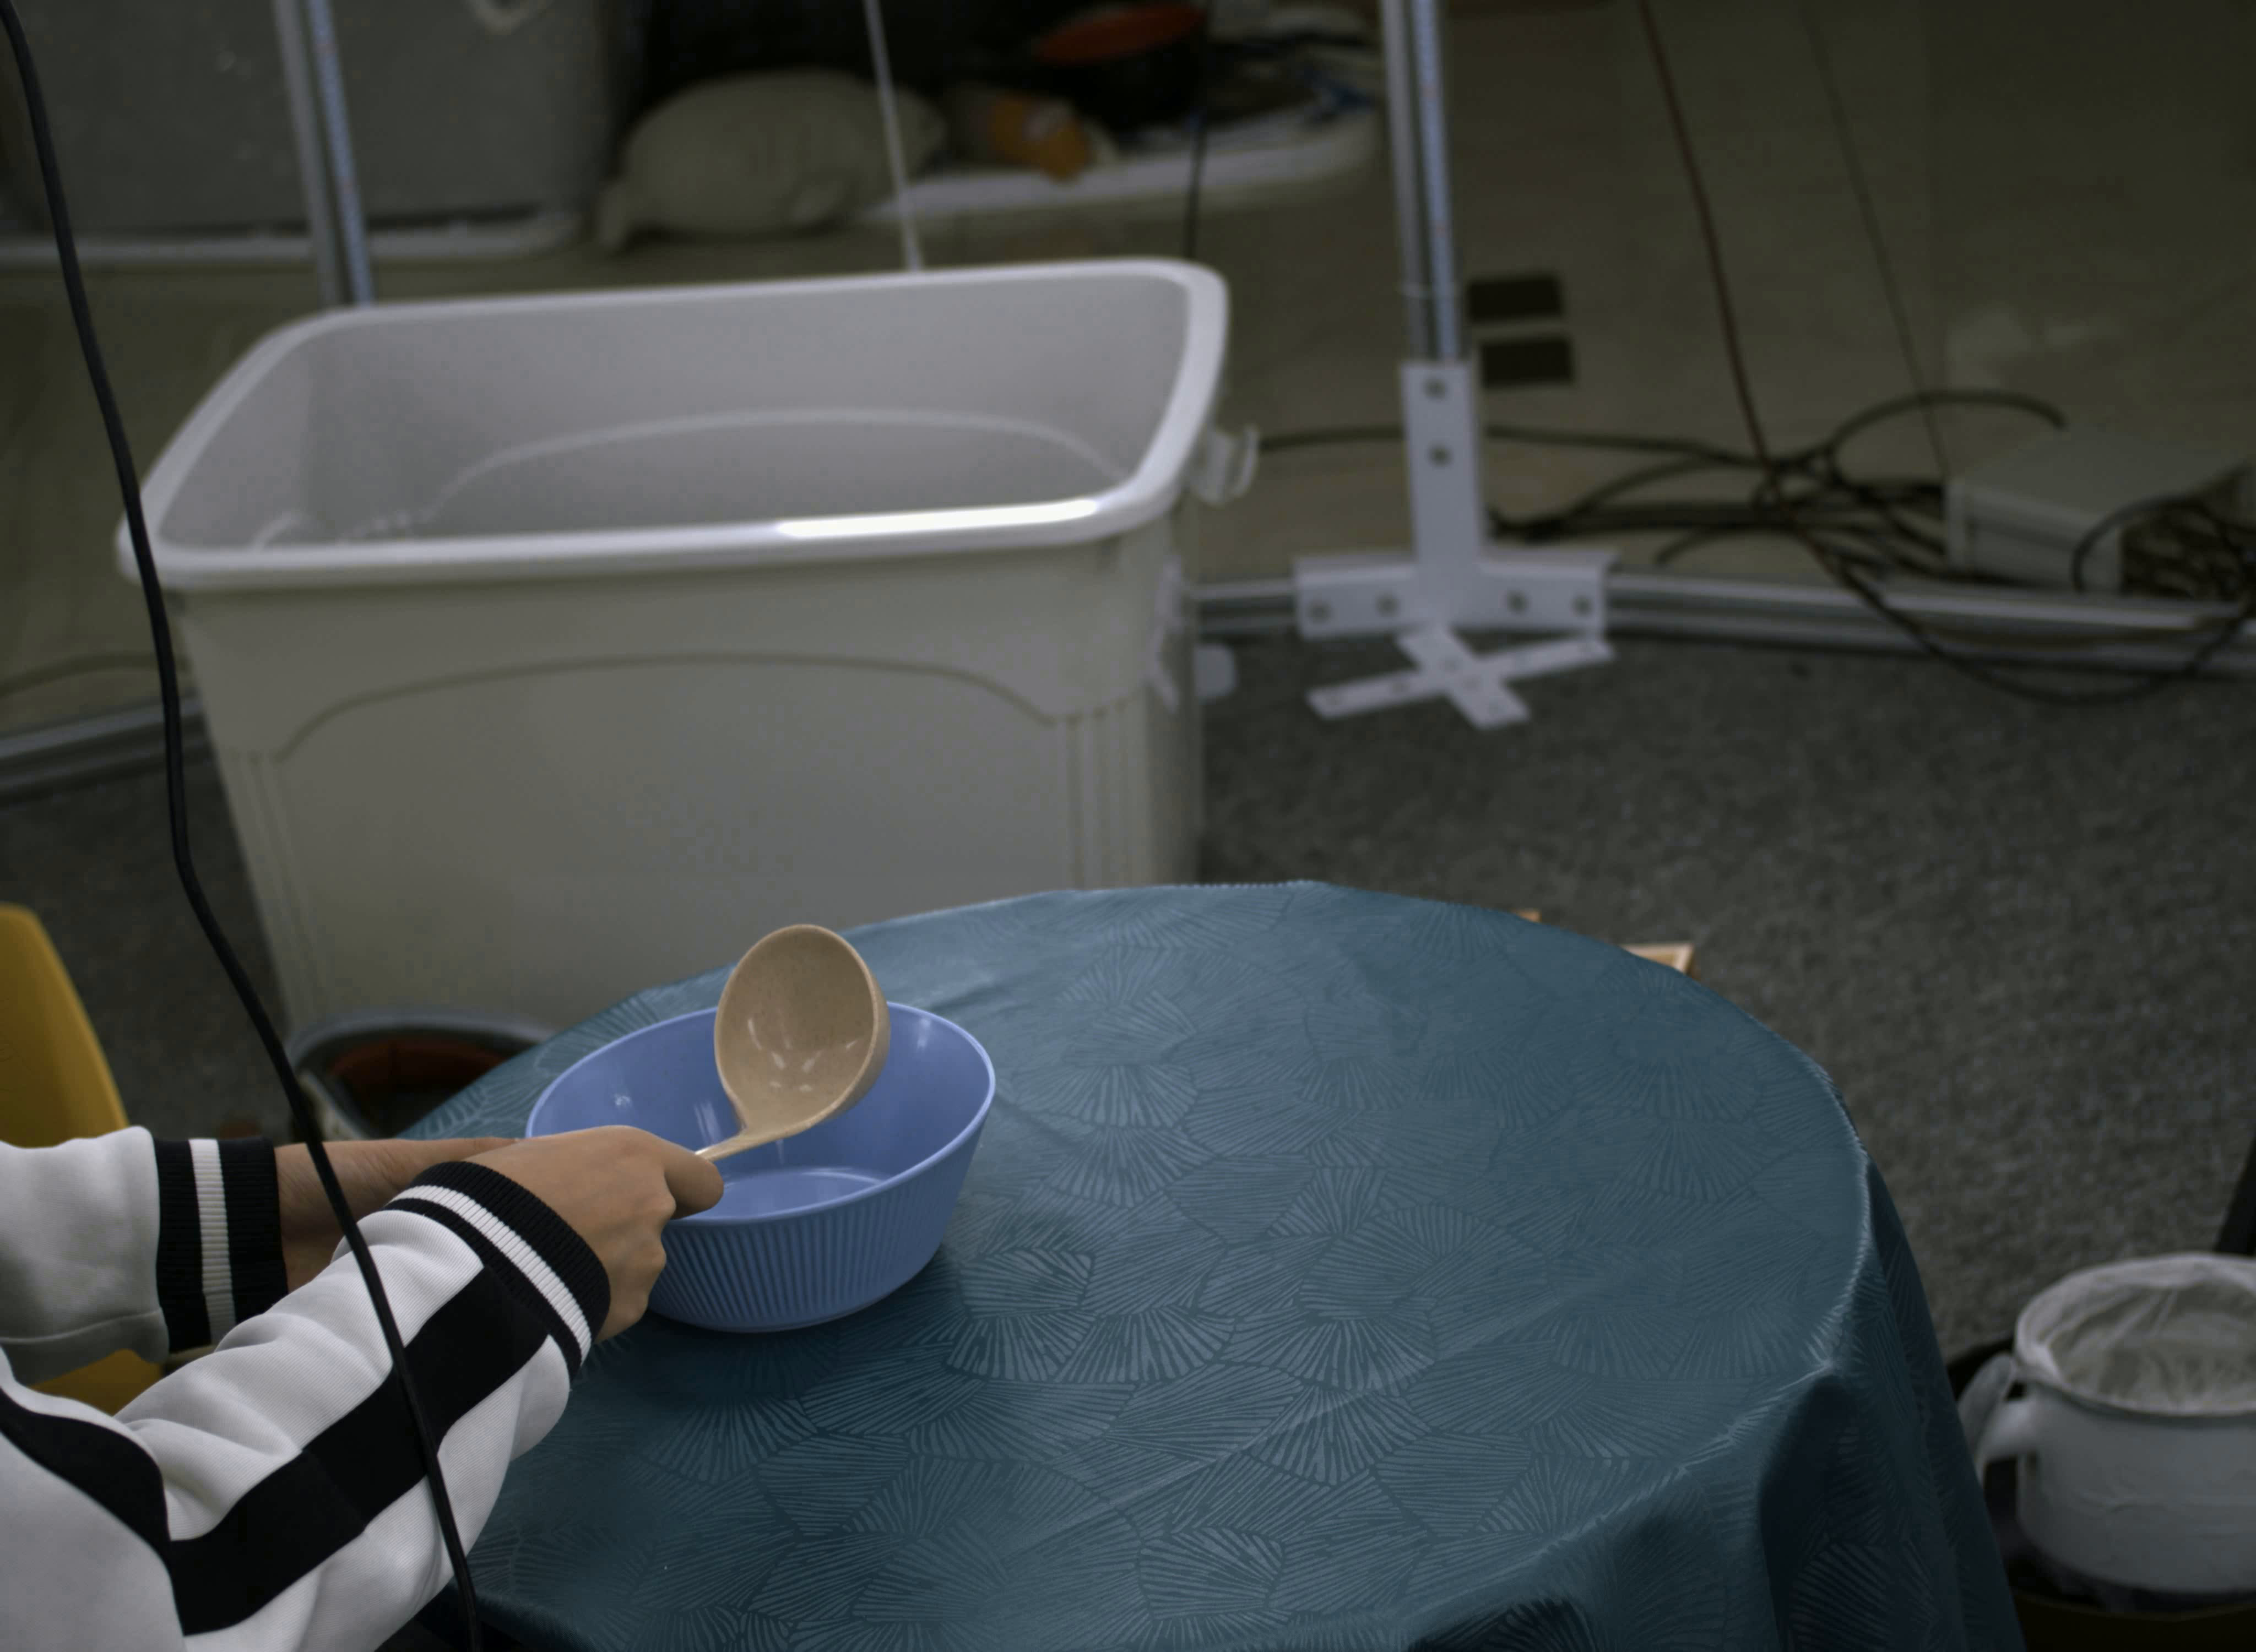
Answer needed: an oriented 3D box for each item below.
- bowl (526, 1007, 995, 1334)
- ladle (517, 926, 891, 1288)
[{"bbox_3d":[-0.132,0.133,2.110,0.176,0.071,0.173,-6,24,3],"label":"bowl"},{"bbox_3d":[-0.160,0.094,1.998,0.072,0.073,0.252,-15,5,25],"label":"ladle"}]
